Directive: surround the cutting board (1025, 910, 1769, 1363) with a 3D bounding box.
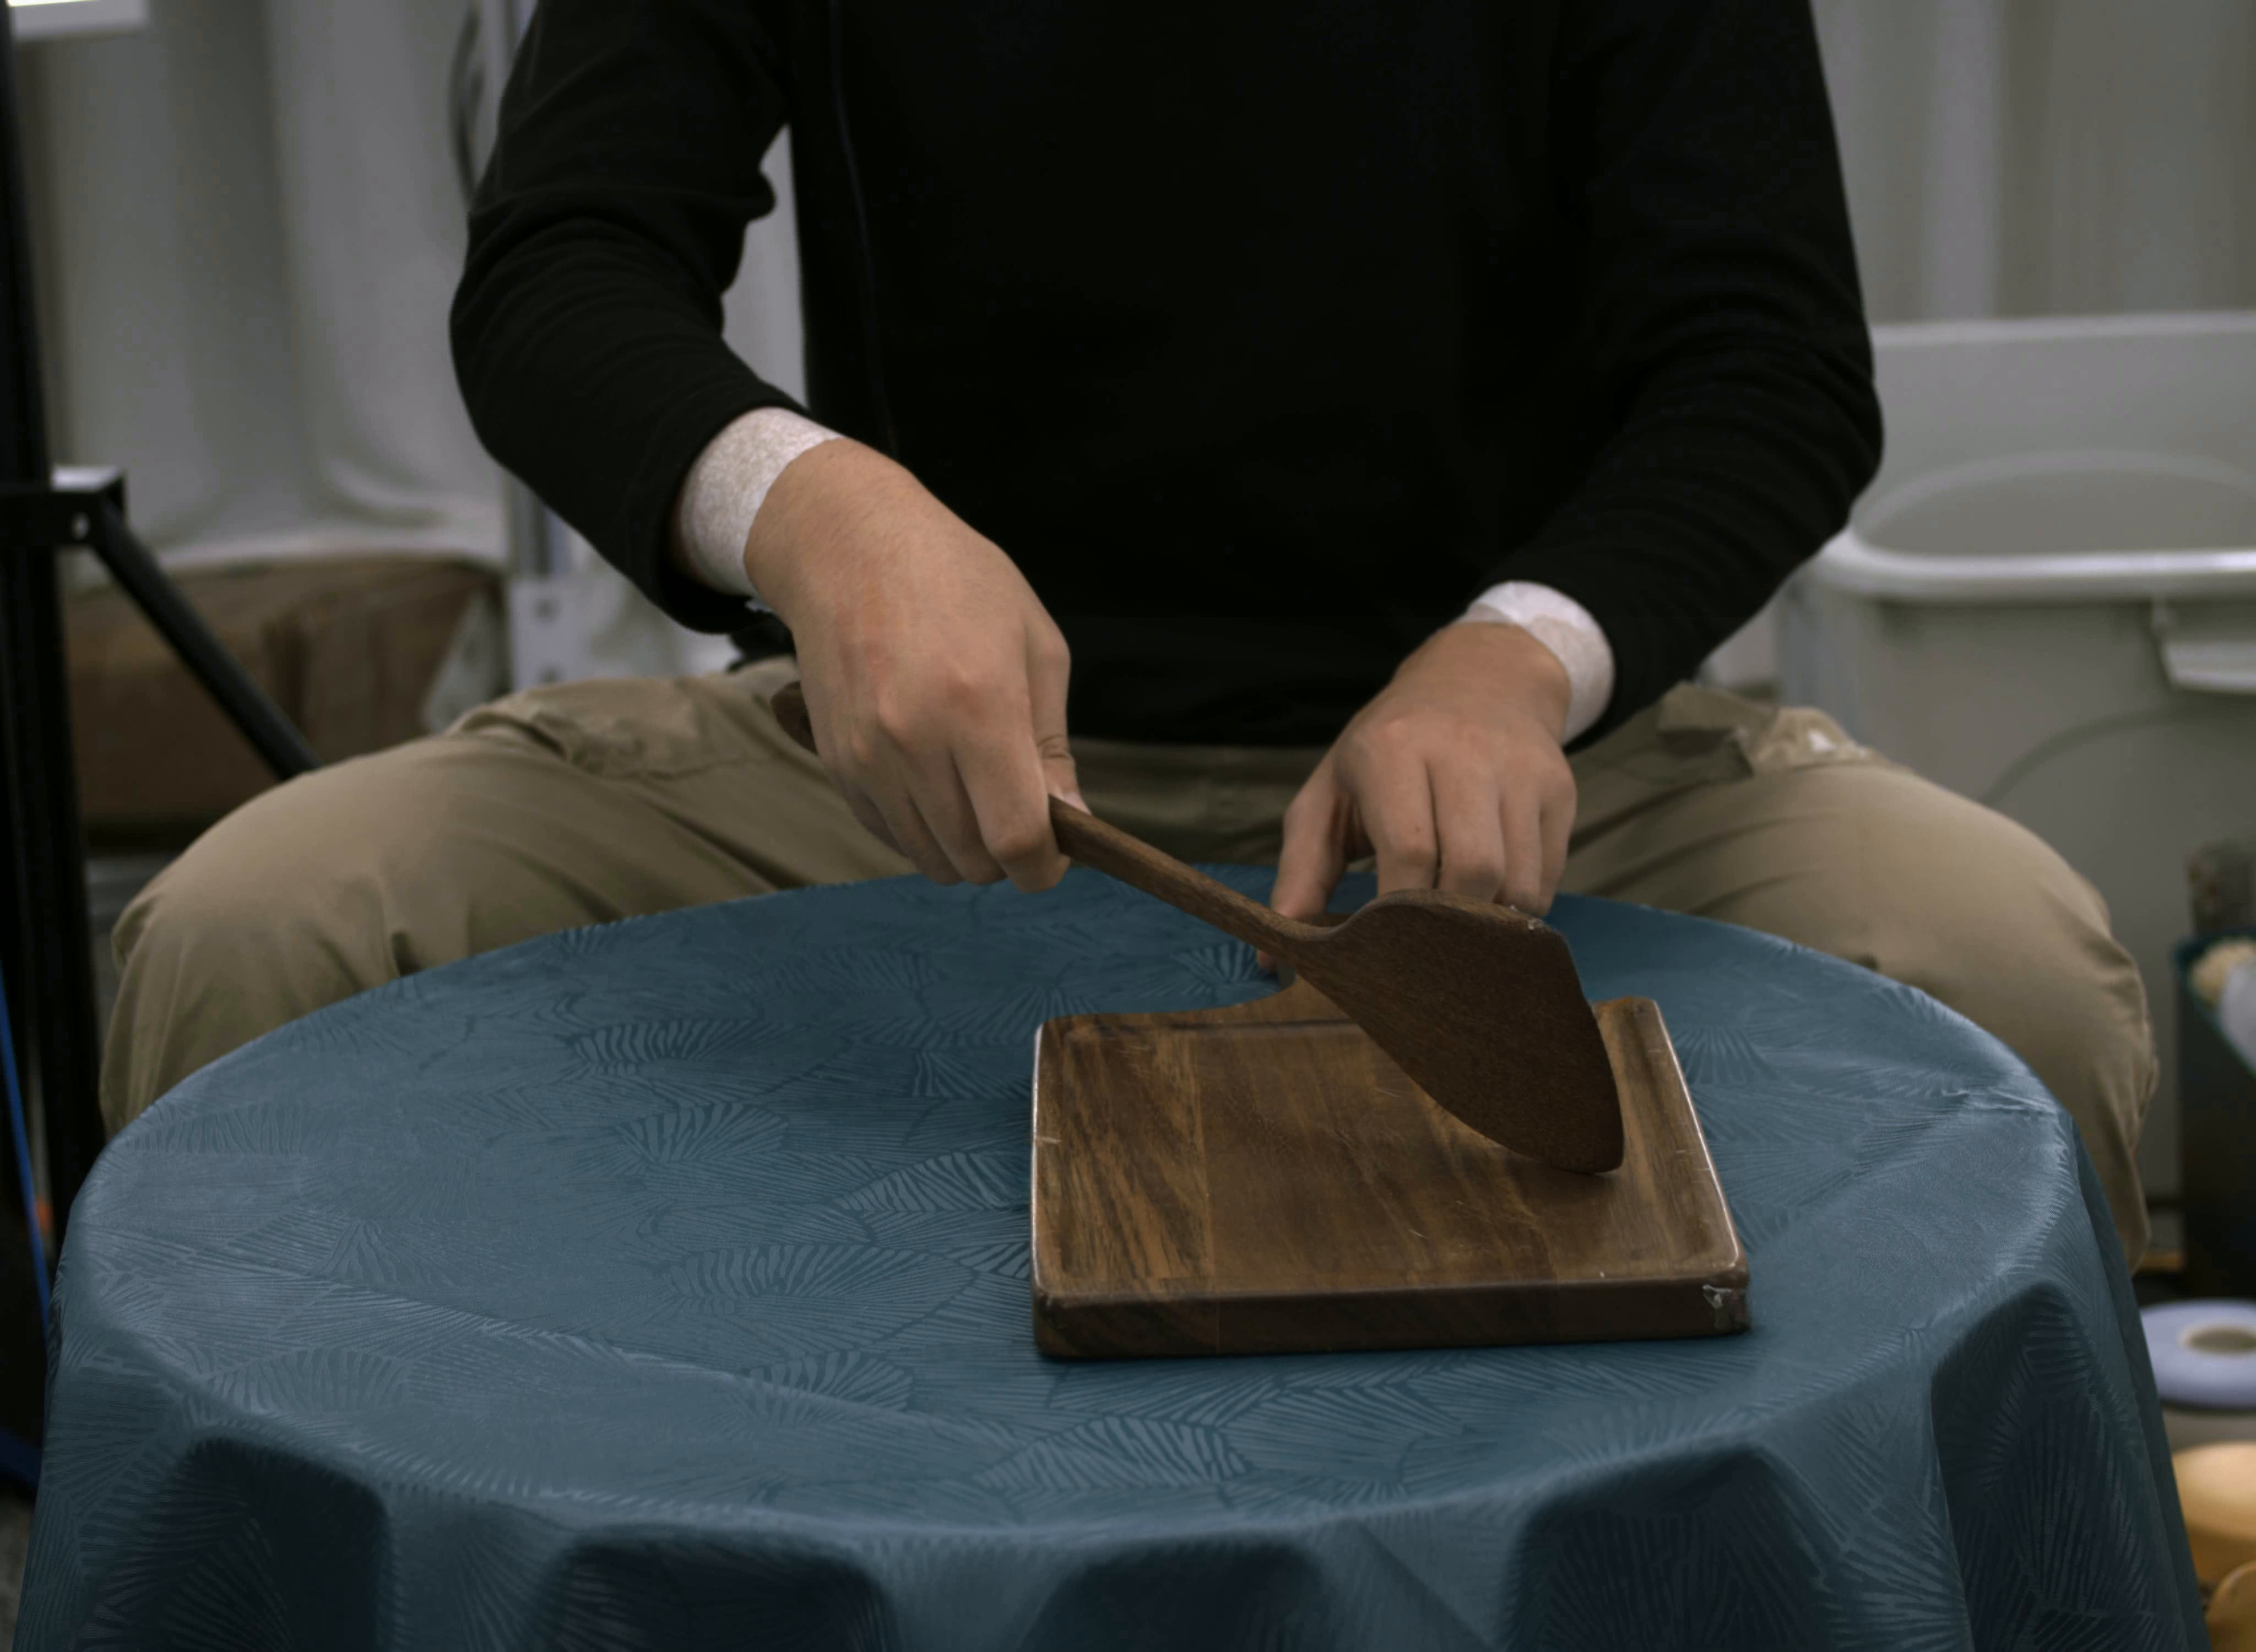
[{"bbox_3d":[0.070,0.085,1.588,0.200,0.023,0.354,-2,16,0],"label":"cutting board"}]

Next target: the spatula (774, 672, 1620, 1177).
[{"bbox_3d":[0.010,0.013,1.609,0.015,0.095,0.395,-34,36,-25],"label":"spatula"}]
